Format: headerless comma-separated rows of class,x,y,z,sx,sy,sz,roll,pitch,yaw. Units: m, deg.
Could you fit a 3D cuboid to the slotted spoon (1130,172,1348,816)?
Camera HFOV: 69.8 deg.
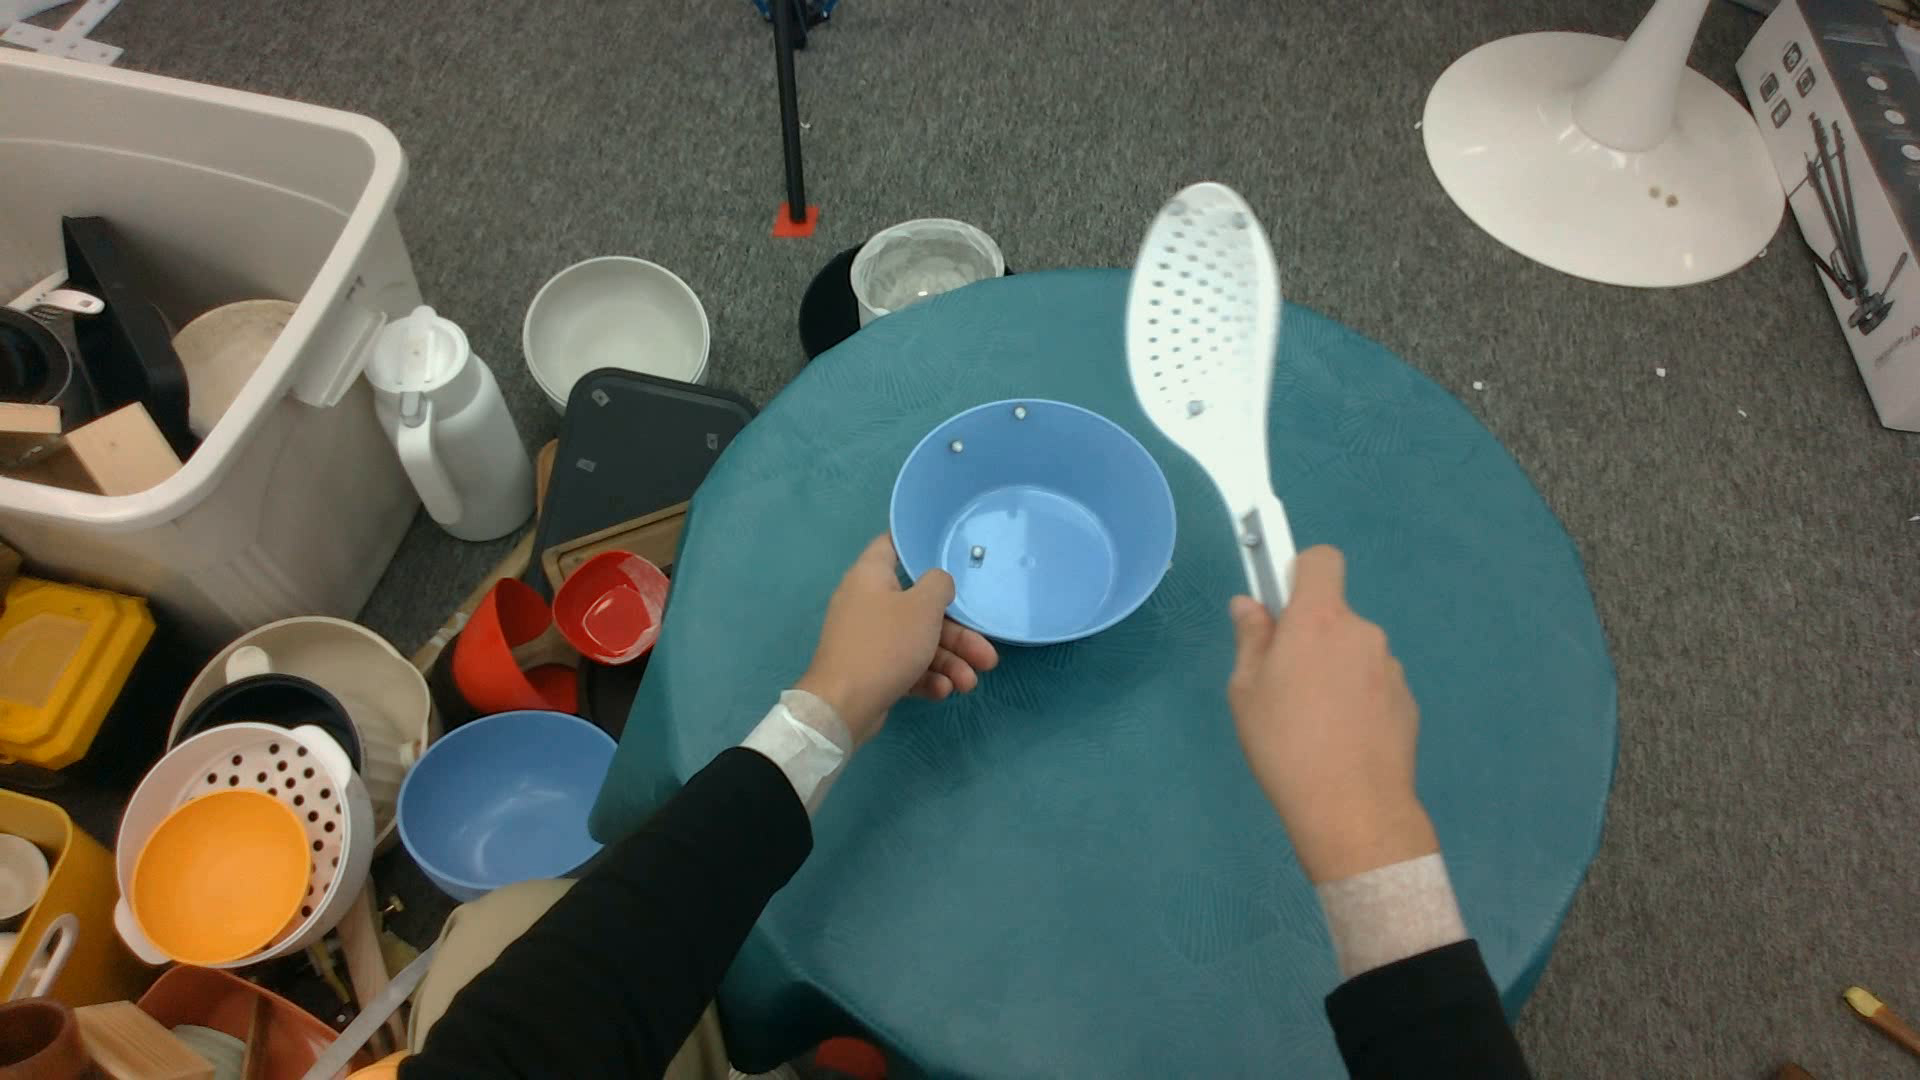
slotted spoon,0.146,-0.033,0.704,0.046,0.135,0.351,8,61,-20

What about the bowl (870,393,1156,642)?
bowl,0.032,-0.003,0.867,0.176,0.070,0.177,1,60,-2
